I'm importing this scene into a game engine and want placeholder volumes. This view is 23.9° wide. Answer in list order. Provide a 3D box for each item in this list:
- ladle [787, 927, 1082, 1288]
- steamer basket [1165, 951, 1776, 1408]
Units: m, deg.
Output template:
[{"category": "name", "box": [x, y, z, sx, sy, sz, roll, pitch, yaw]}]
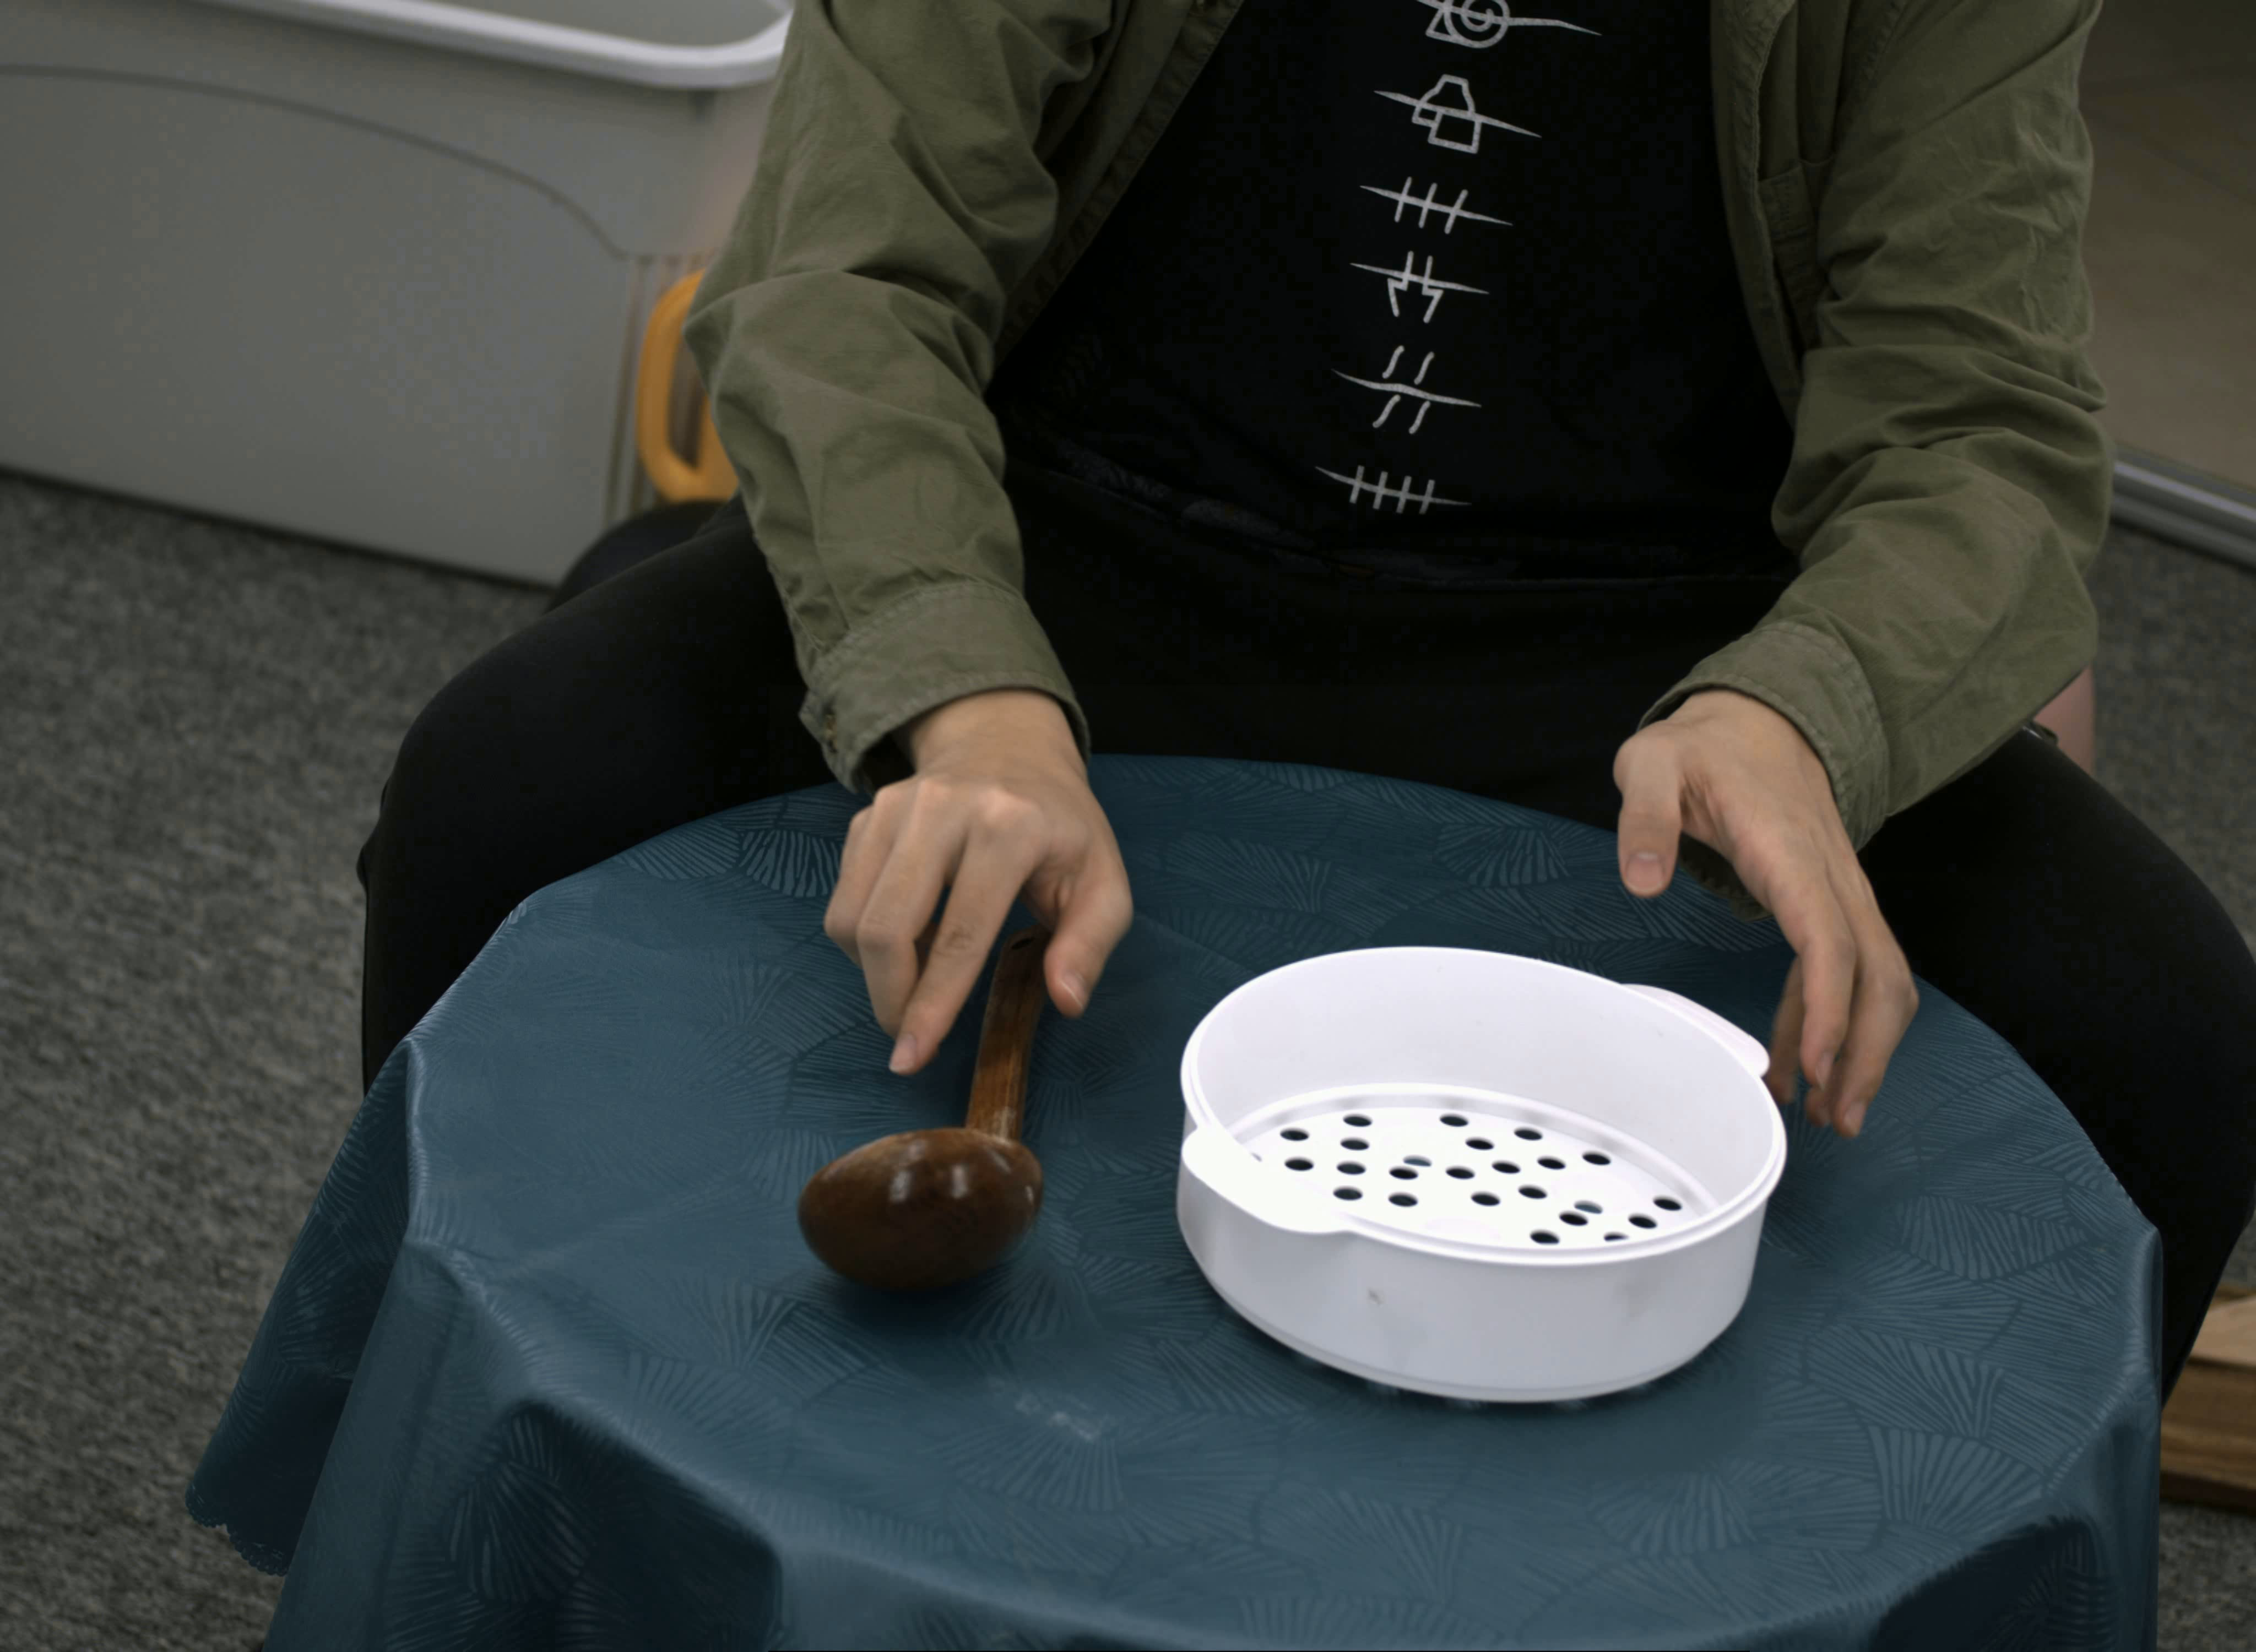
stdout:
[{"category": "ladle", "box": [-0.057, 0.076, 1.804, 0.082, 0.076, 0.275, -16, 23, 14]}, {"category": "steamer basket", "box": [0.110, 0.117, 1.761, 0.229, 0.069, 0.203, -15, 34, -38]}]
